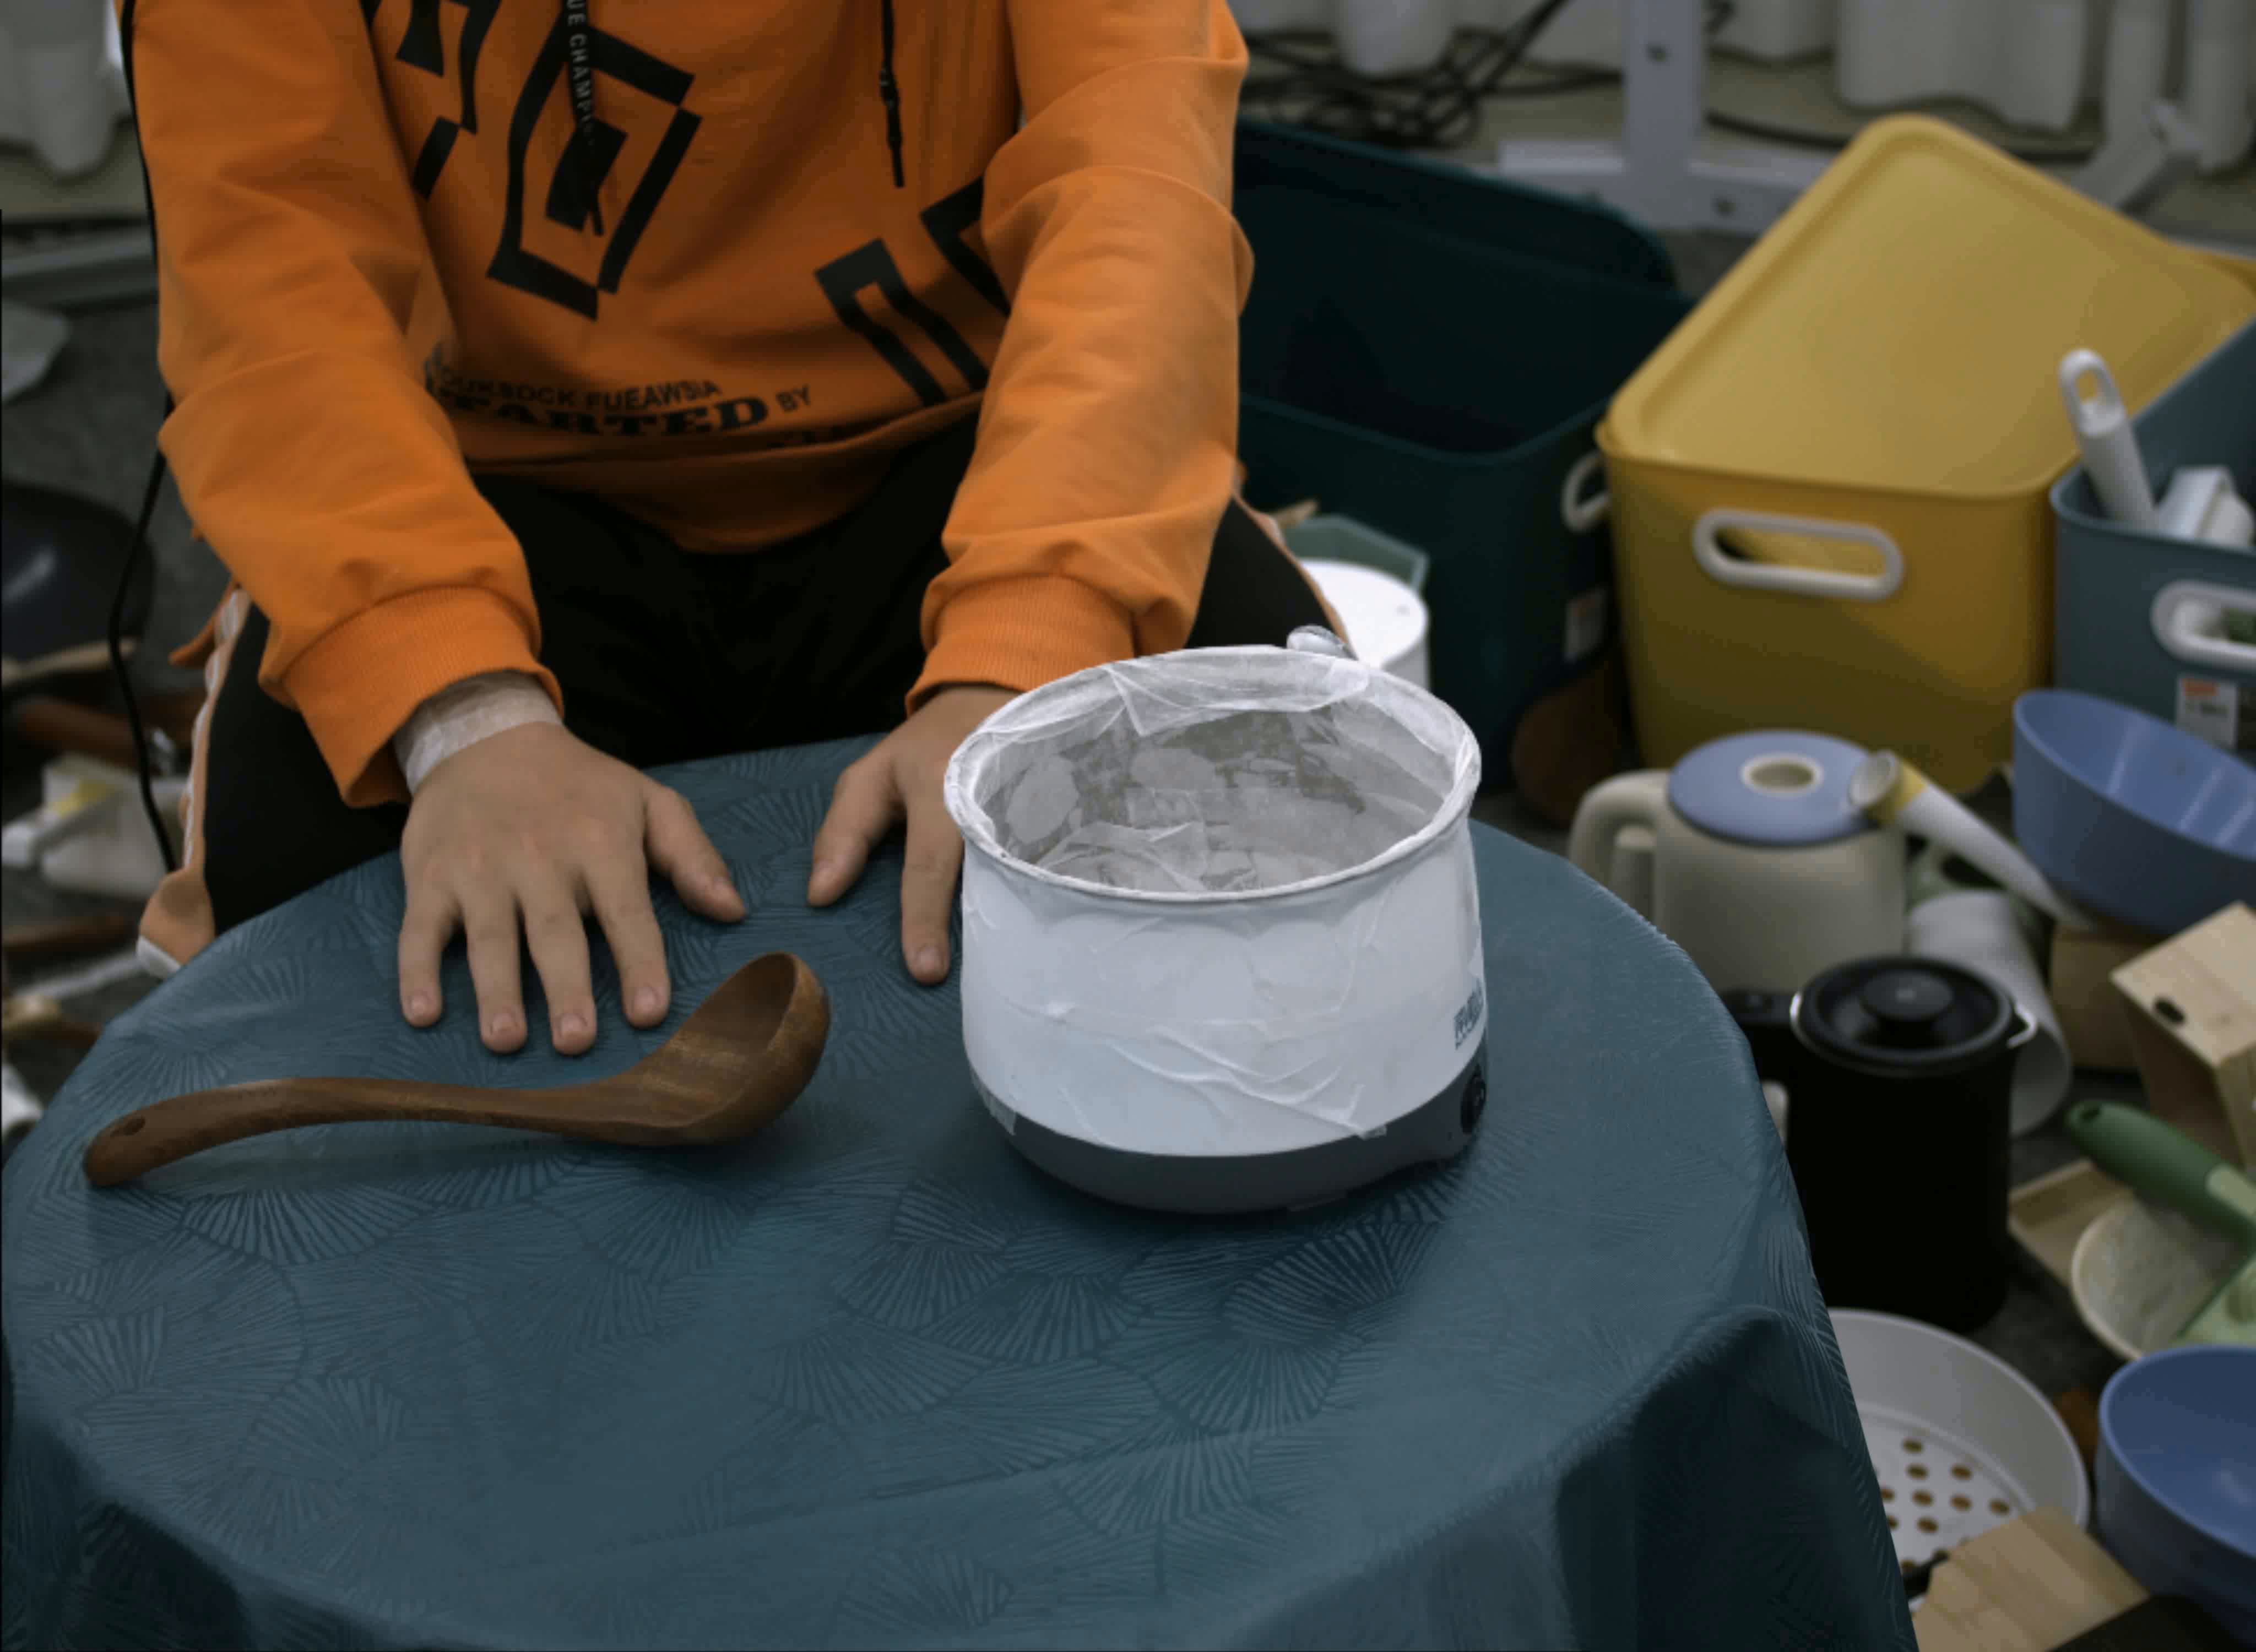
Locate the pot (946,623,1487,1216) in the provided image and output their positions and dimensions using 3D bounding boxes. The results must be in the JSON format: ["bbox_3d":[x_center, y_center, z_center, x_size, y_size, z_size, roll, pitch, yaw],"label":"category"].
[{"bbox_3d":[0.040,0.024,1.899,0.177,0.135,0.238,7,29,18],"label":"pot"}]

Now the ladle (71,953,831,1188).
[{"bbox_3d":[-0.228,0.084,1.889,0.259,0.064,0.077,-3,24,-1],"label":"ladle"}]
